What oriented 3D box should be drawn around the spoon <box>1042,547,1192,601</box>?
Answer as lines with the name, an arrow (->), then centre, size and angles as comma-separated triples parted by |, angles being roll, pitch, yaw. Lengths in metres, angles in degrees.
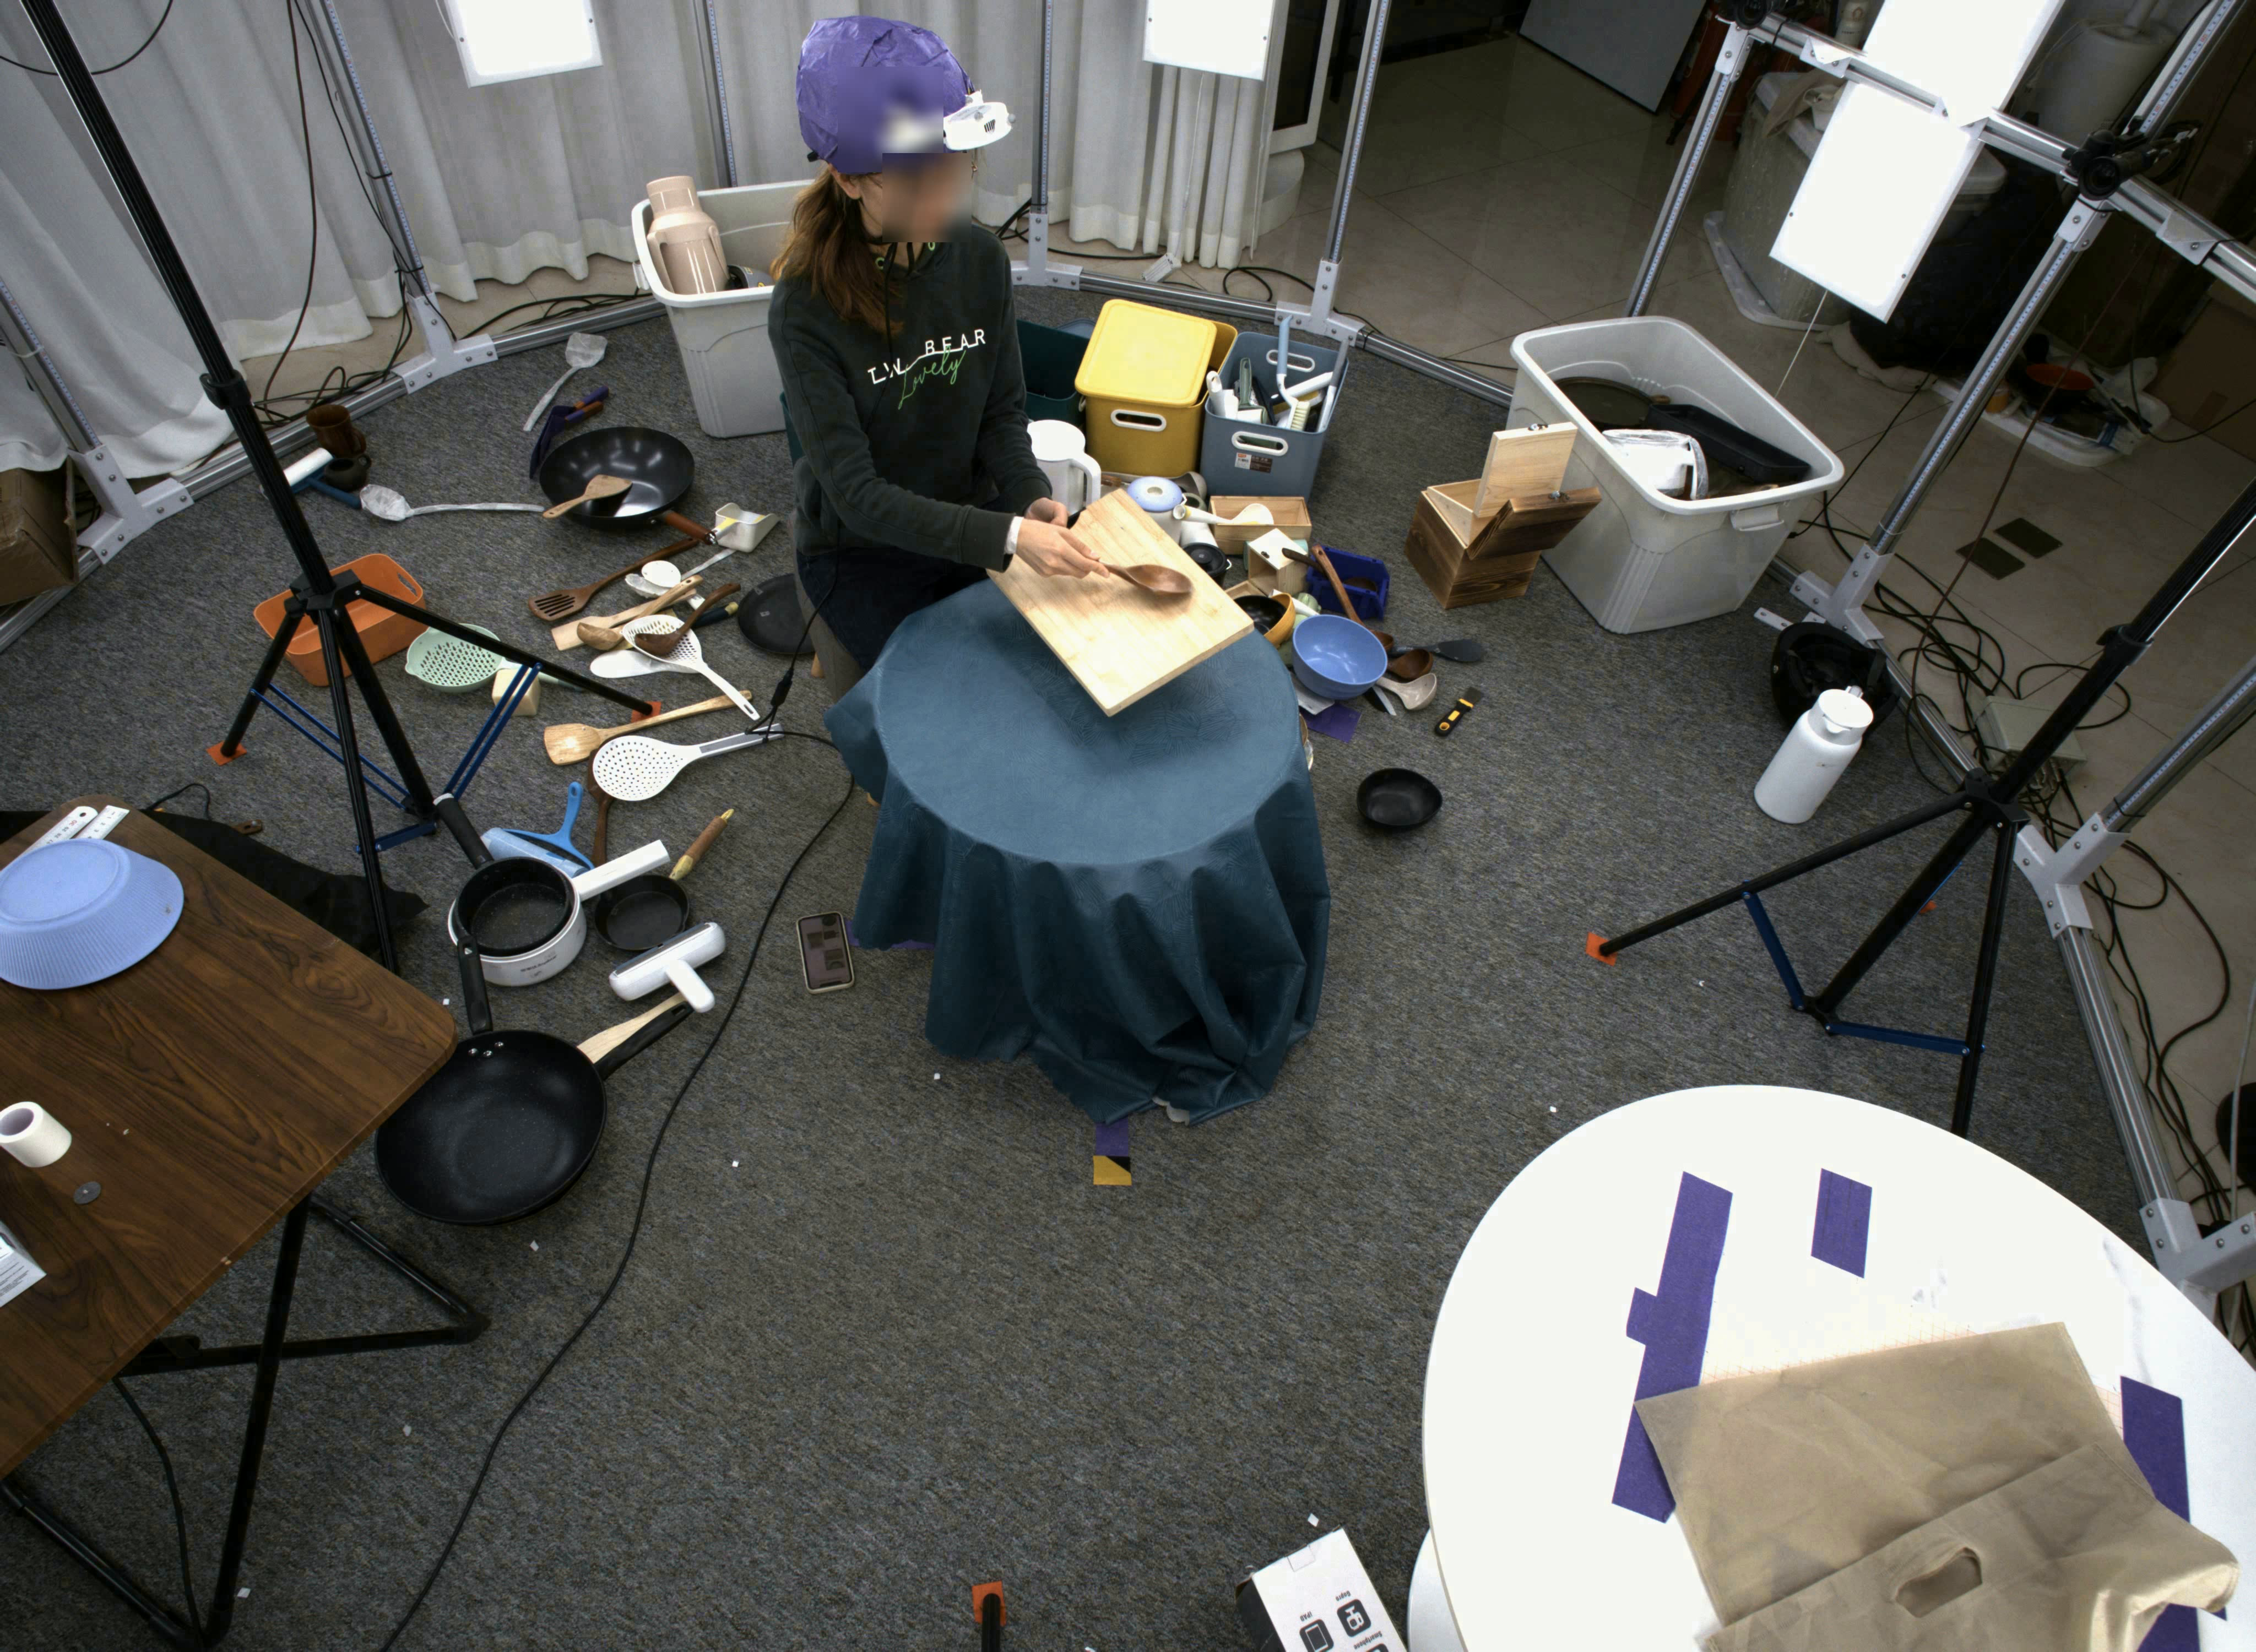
spoon -> -0.016, -0.354, 1.800 | 0.216, 0.017, 0.077 | 17, 38, 3

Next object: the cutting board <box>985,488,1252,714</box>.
cutting board -> -0.020, -0.328, 1.837 | 0.251, 0.023, 0.356 | -32, 57, -12
